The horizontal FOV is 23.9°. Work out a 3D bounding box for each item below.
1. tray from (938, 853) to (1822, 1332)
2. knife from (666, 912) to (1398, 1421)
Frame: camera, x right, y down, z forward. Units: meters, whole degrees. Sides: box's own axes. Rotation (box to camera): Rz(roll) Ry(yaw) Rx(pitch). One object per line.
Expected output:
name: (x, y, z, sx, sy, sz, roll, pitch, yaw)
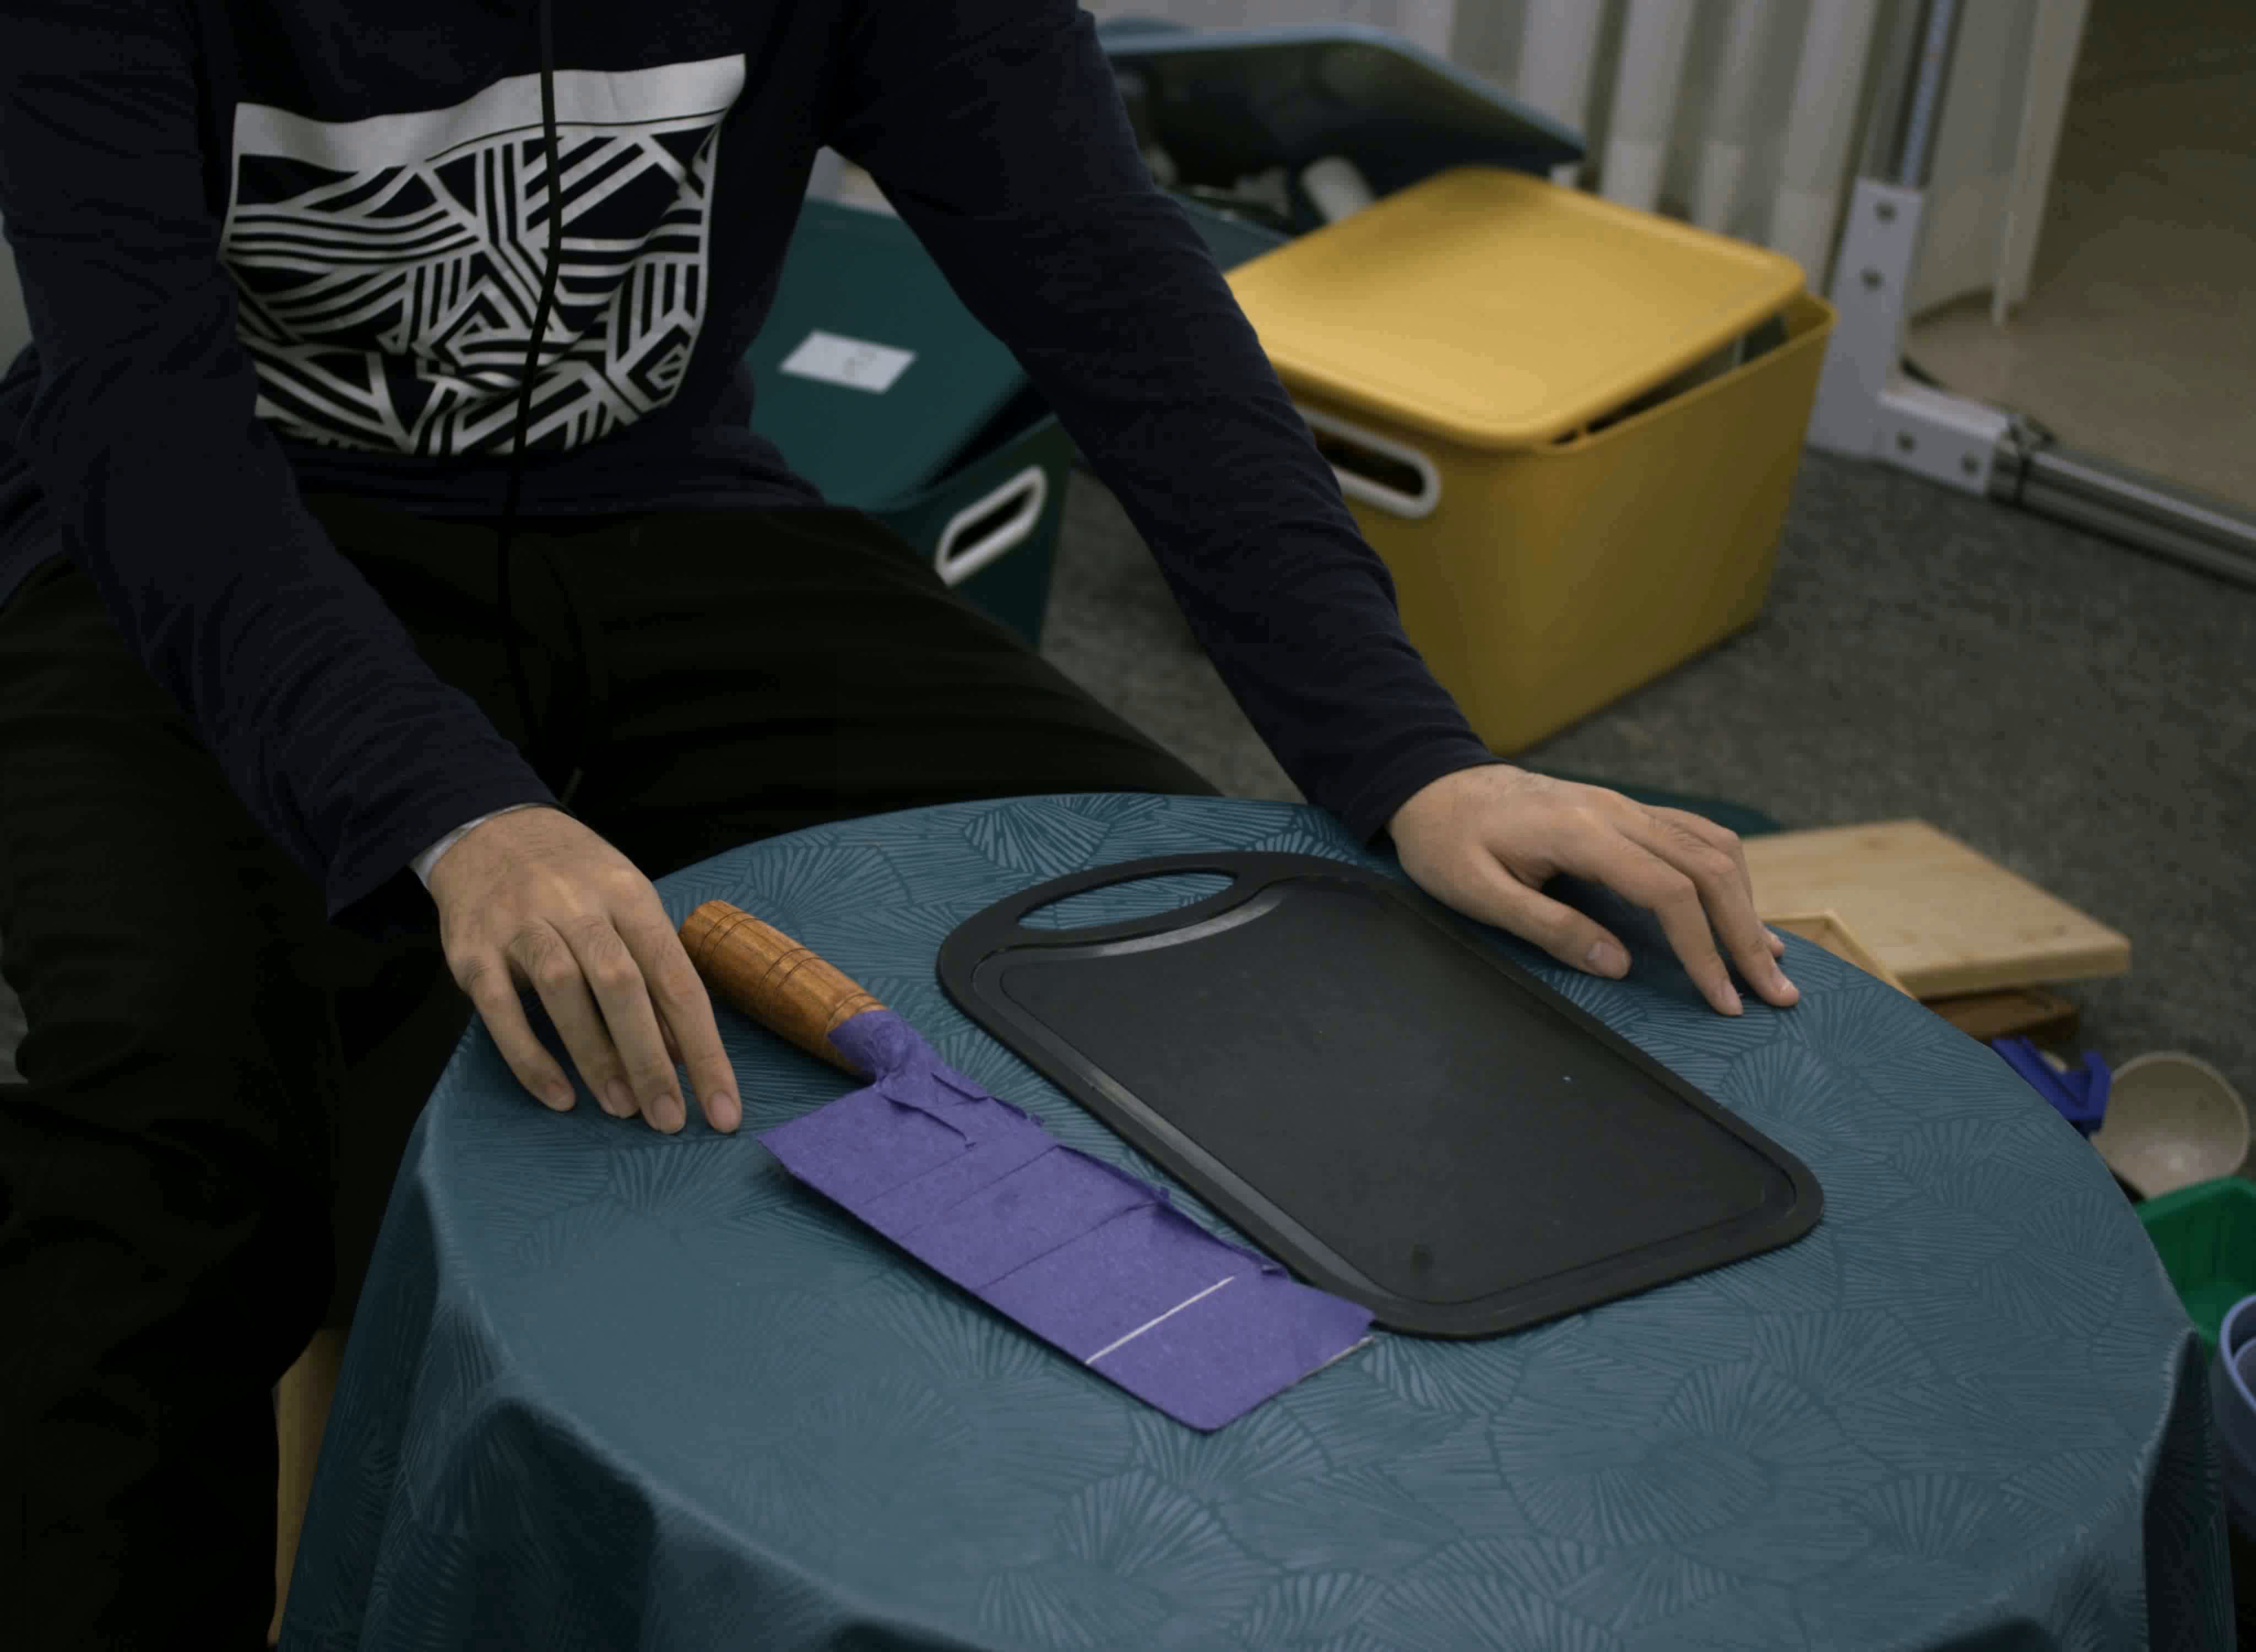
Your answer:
tray: (0.080, 0.085, 1.893, 0.210, 0.010, 0.328, -13, 32, -34)
knife: (-0.058, 0.111, 1.788, 0.317, 0.032, 0.103, 27, 33, 34)
